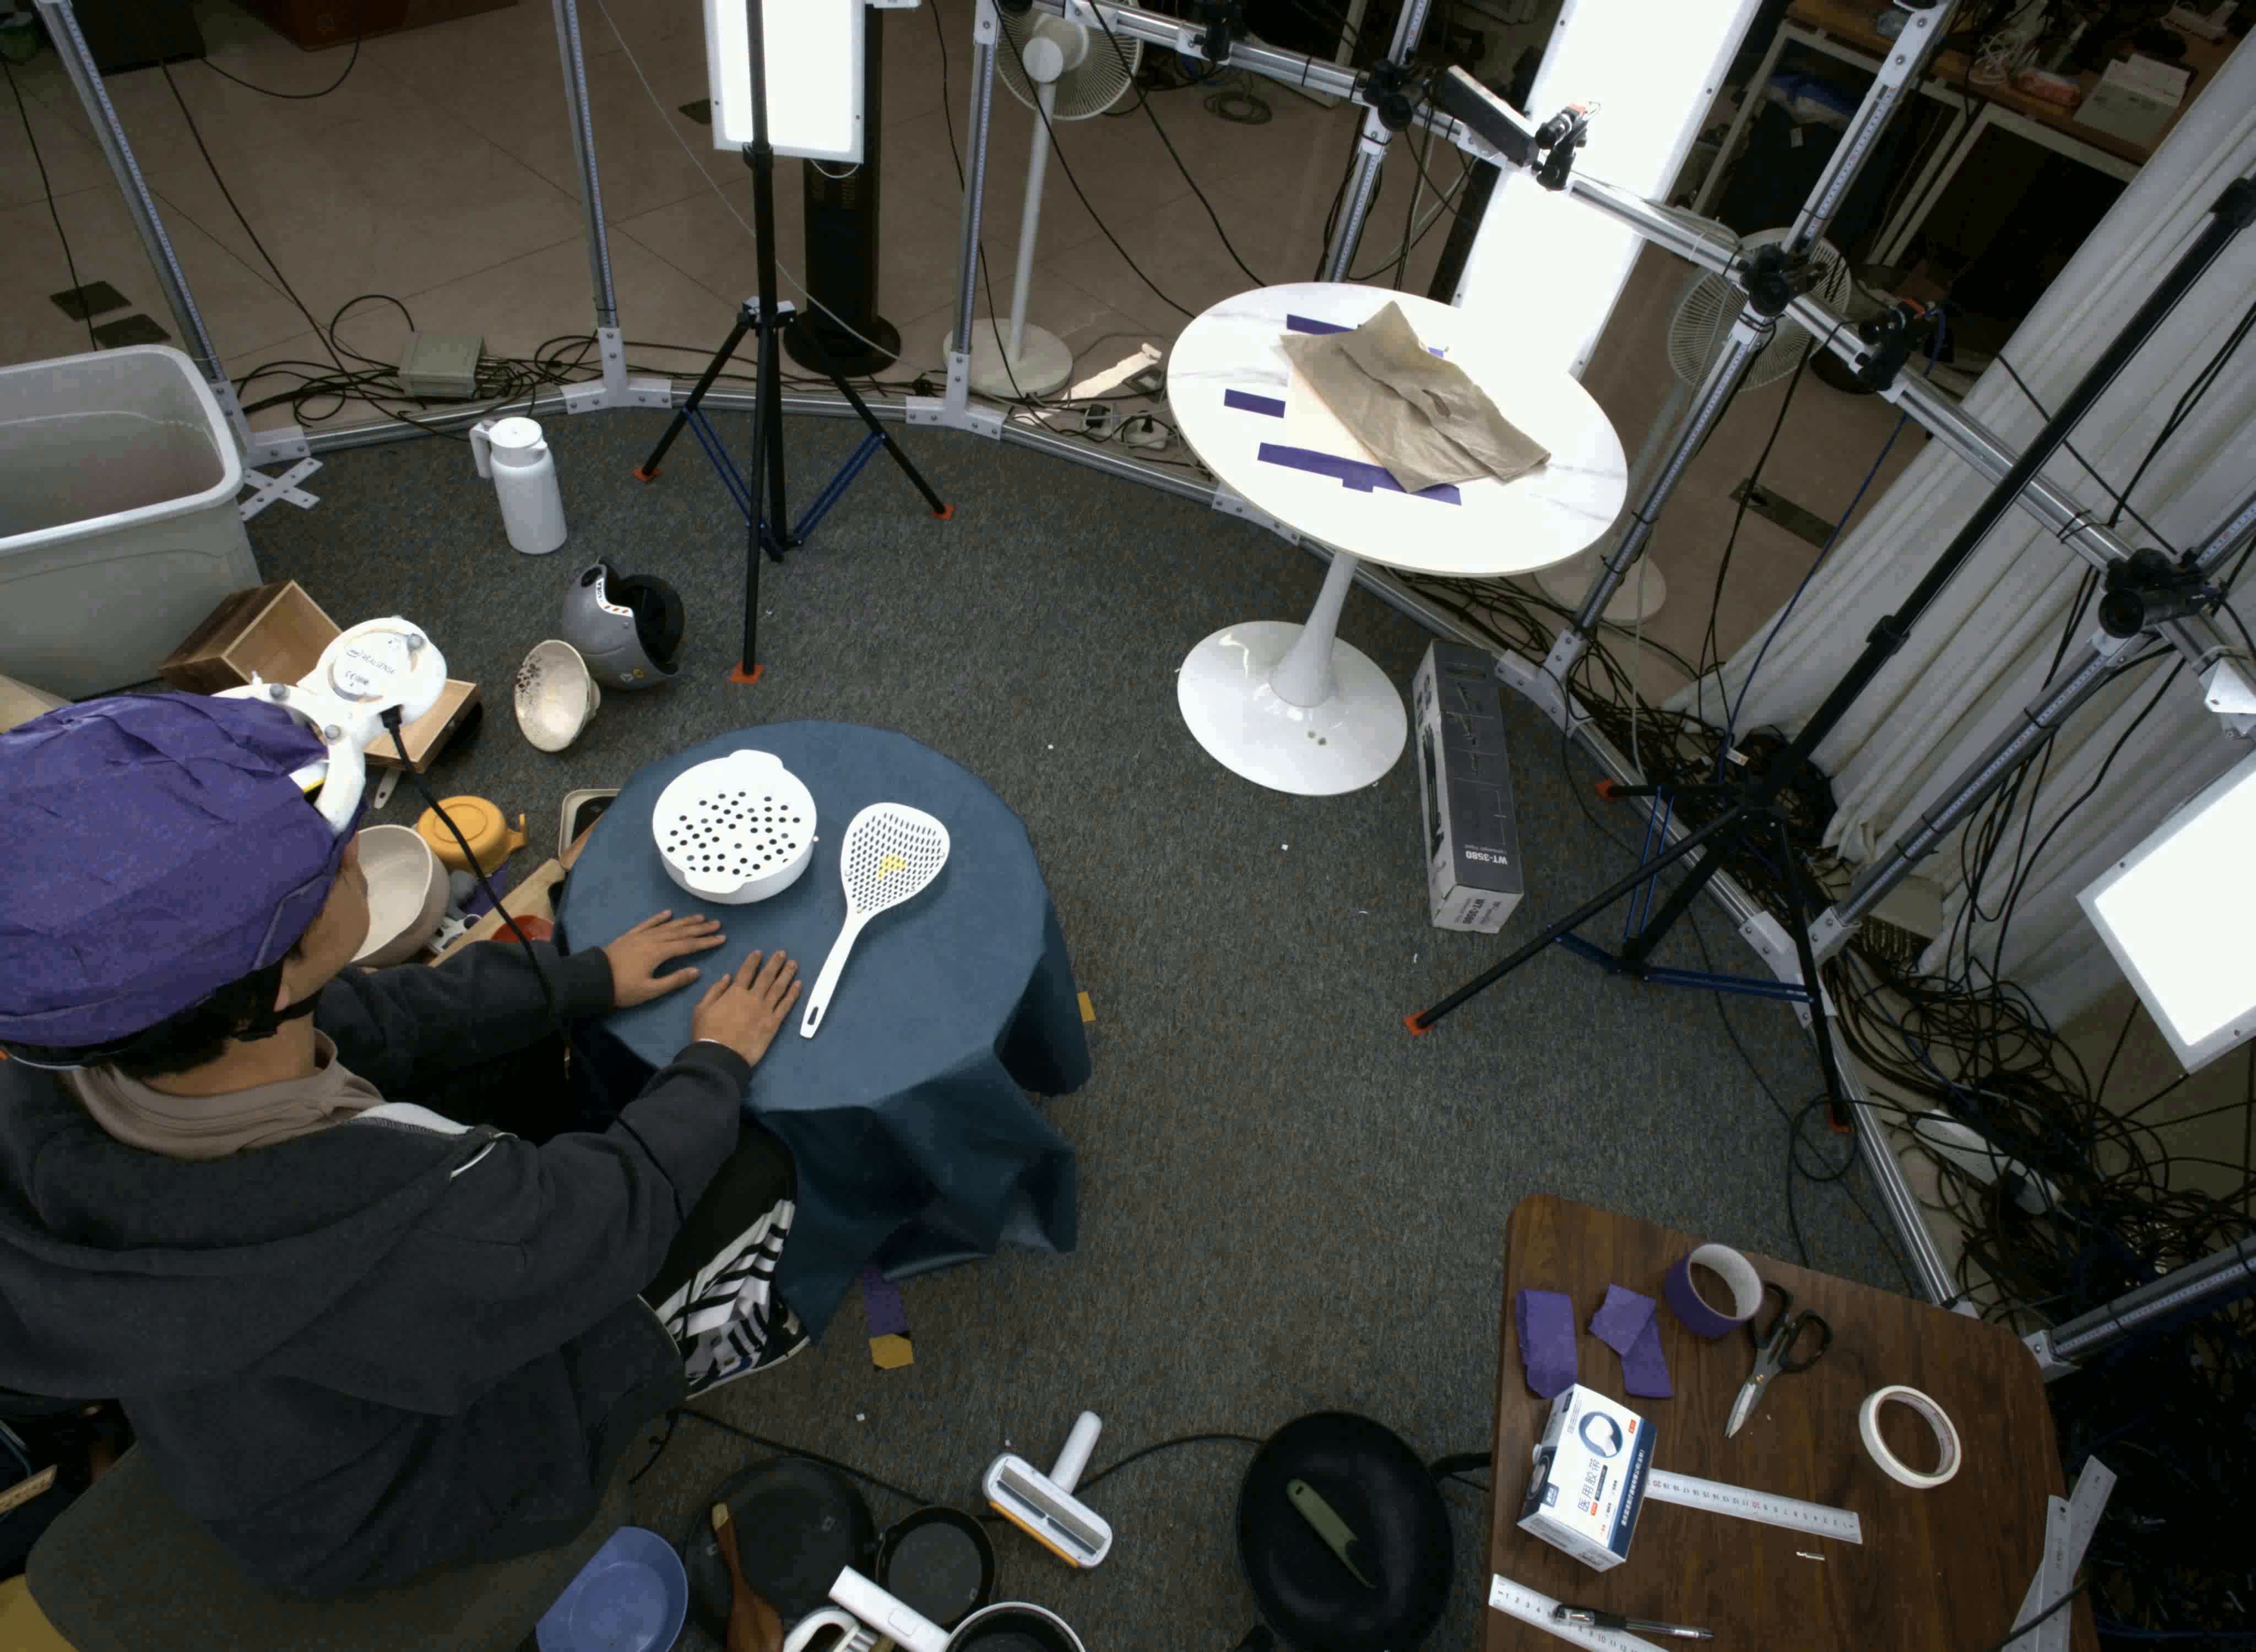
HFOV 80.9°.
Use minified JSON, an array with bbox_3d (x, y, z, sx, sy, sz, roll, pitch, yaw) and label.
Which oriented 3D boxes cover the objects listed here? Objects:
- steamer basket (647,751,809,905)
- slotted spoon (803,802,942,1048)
[{"bbox_3d":[-0.511,0.007,1.657,0.201,0.071,0.226,10,50,-6],"label":"steamer basket"},{"bbox_3d":[-0.343,0.117,1.637,0.136,0.051,0.344,21,52,-3],"label":"slotted spoon"}]
